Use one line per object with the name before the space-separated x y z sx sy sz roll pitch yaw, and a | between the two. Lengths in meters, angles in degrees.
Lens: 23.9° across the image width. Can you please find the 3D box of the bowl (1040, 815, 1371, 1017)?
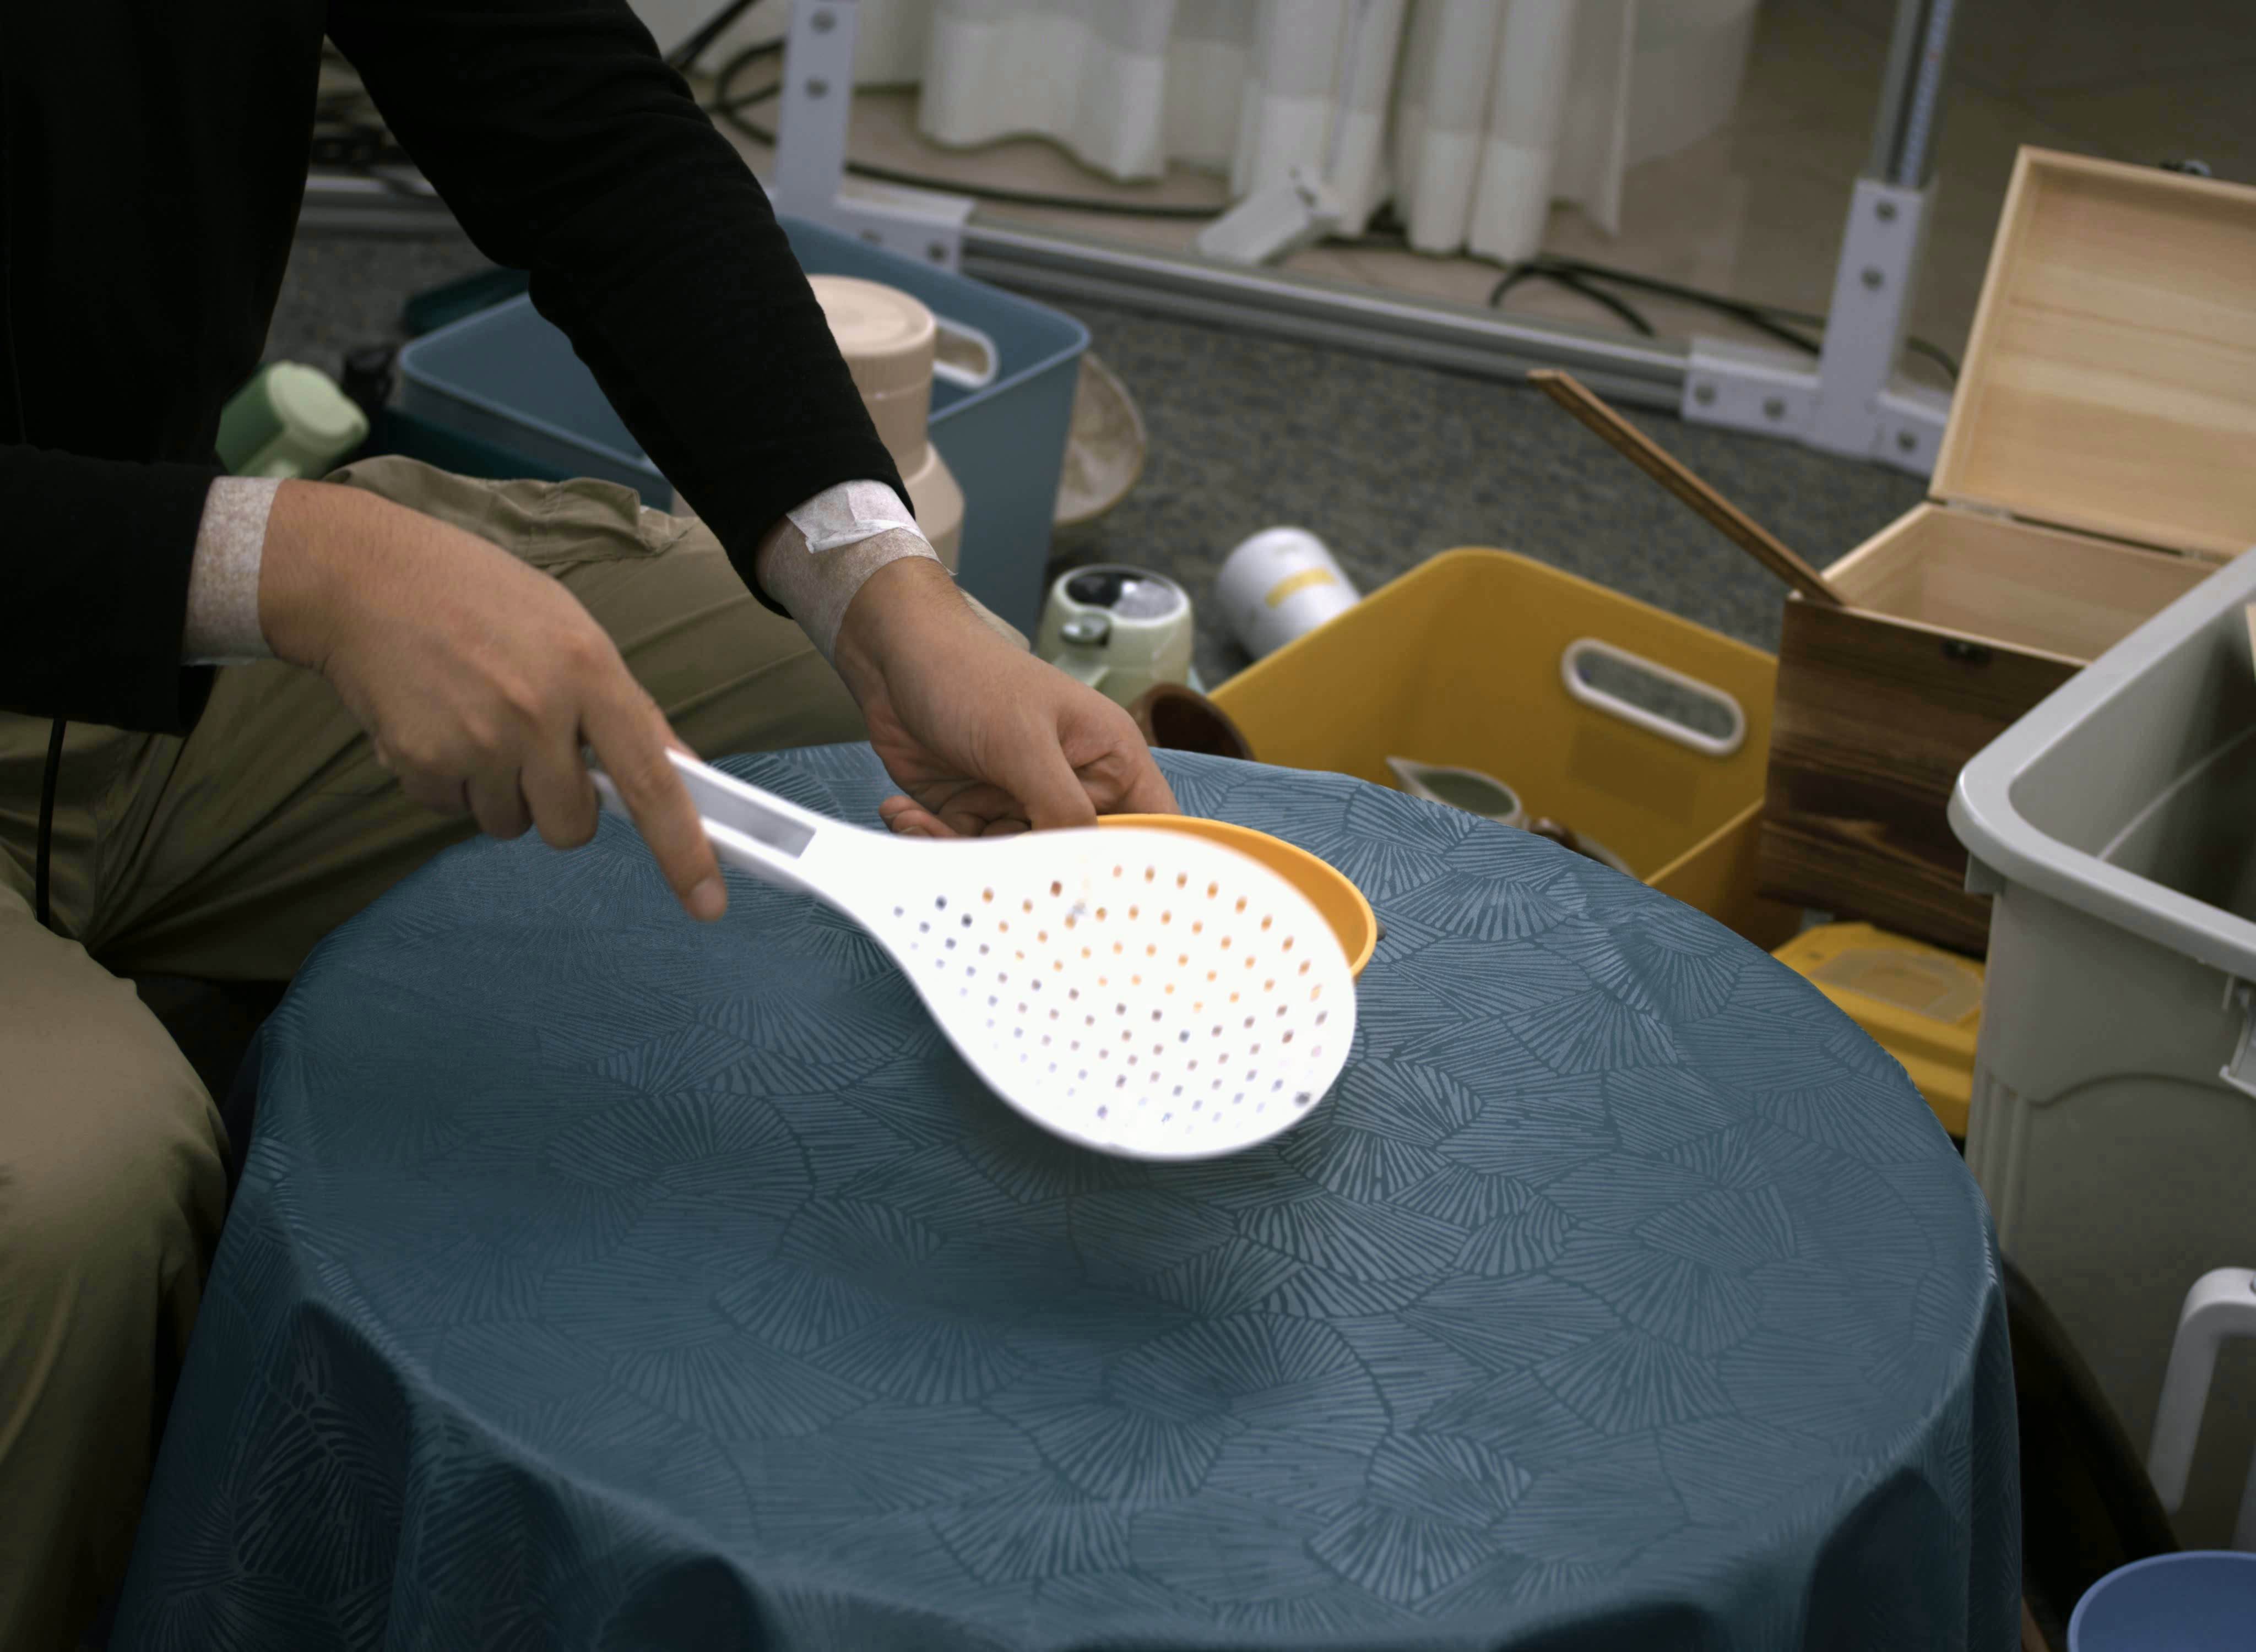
bowl | 0.011 0.055 1.876 0.145 0.060 0.146 6 27 -3

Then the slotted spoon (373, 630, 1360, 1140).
slotted spoon | -0.090 0.011 1.758 0.350 0.045 0.136 25 50 6
